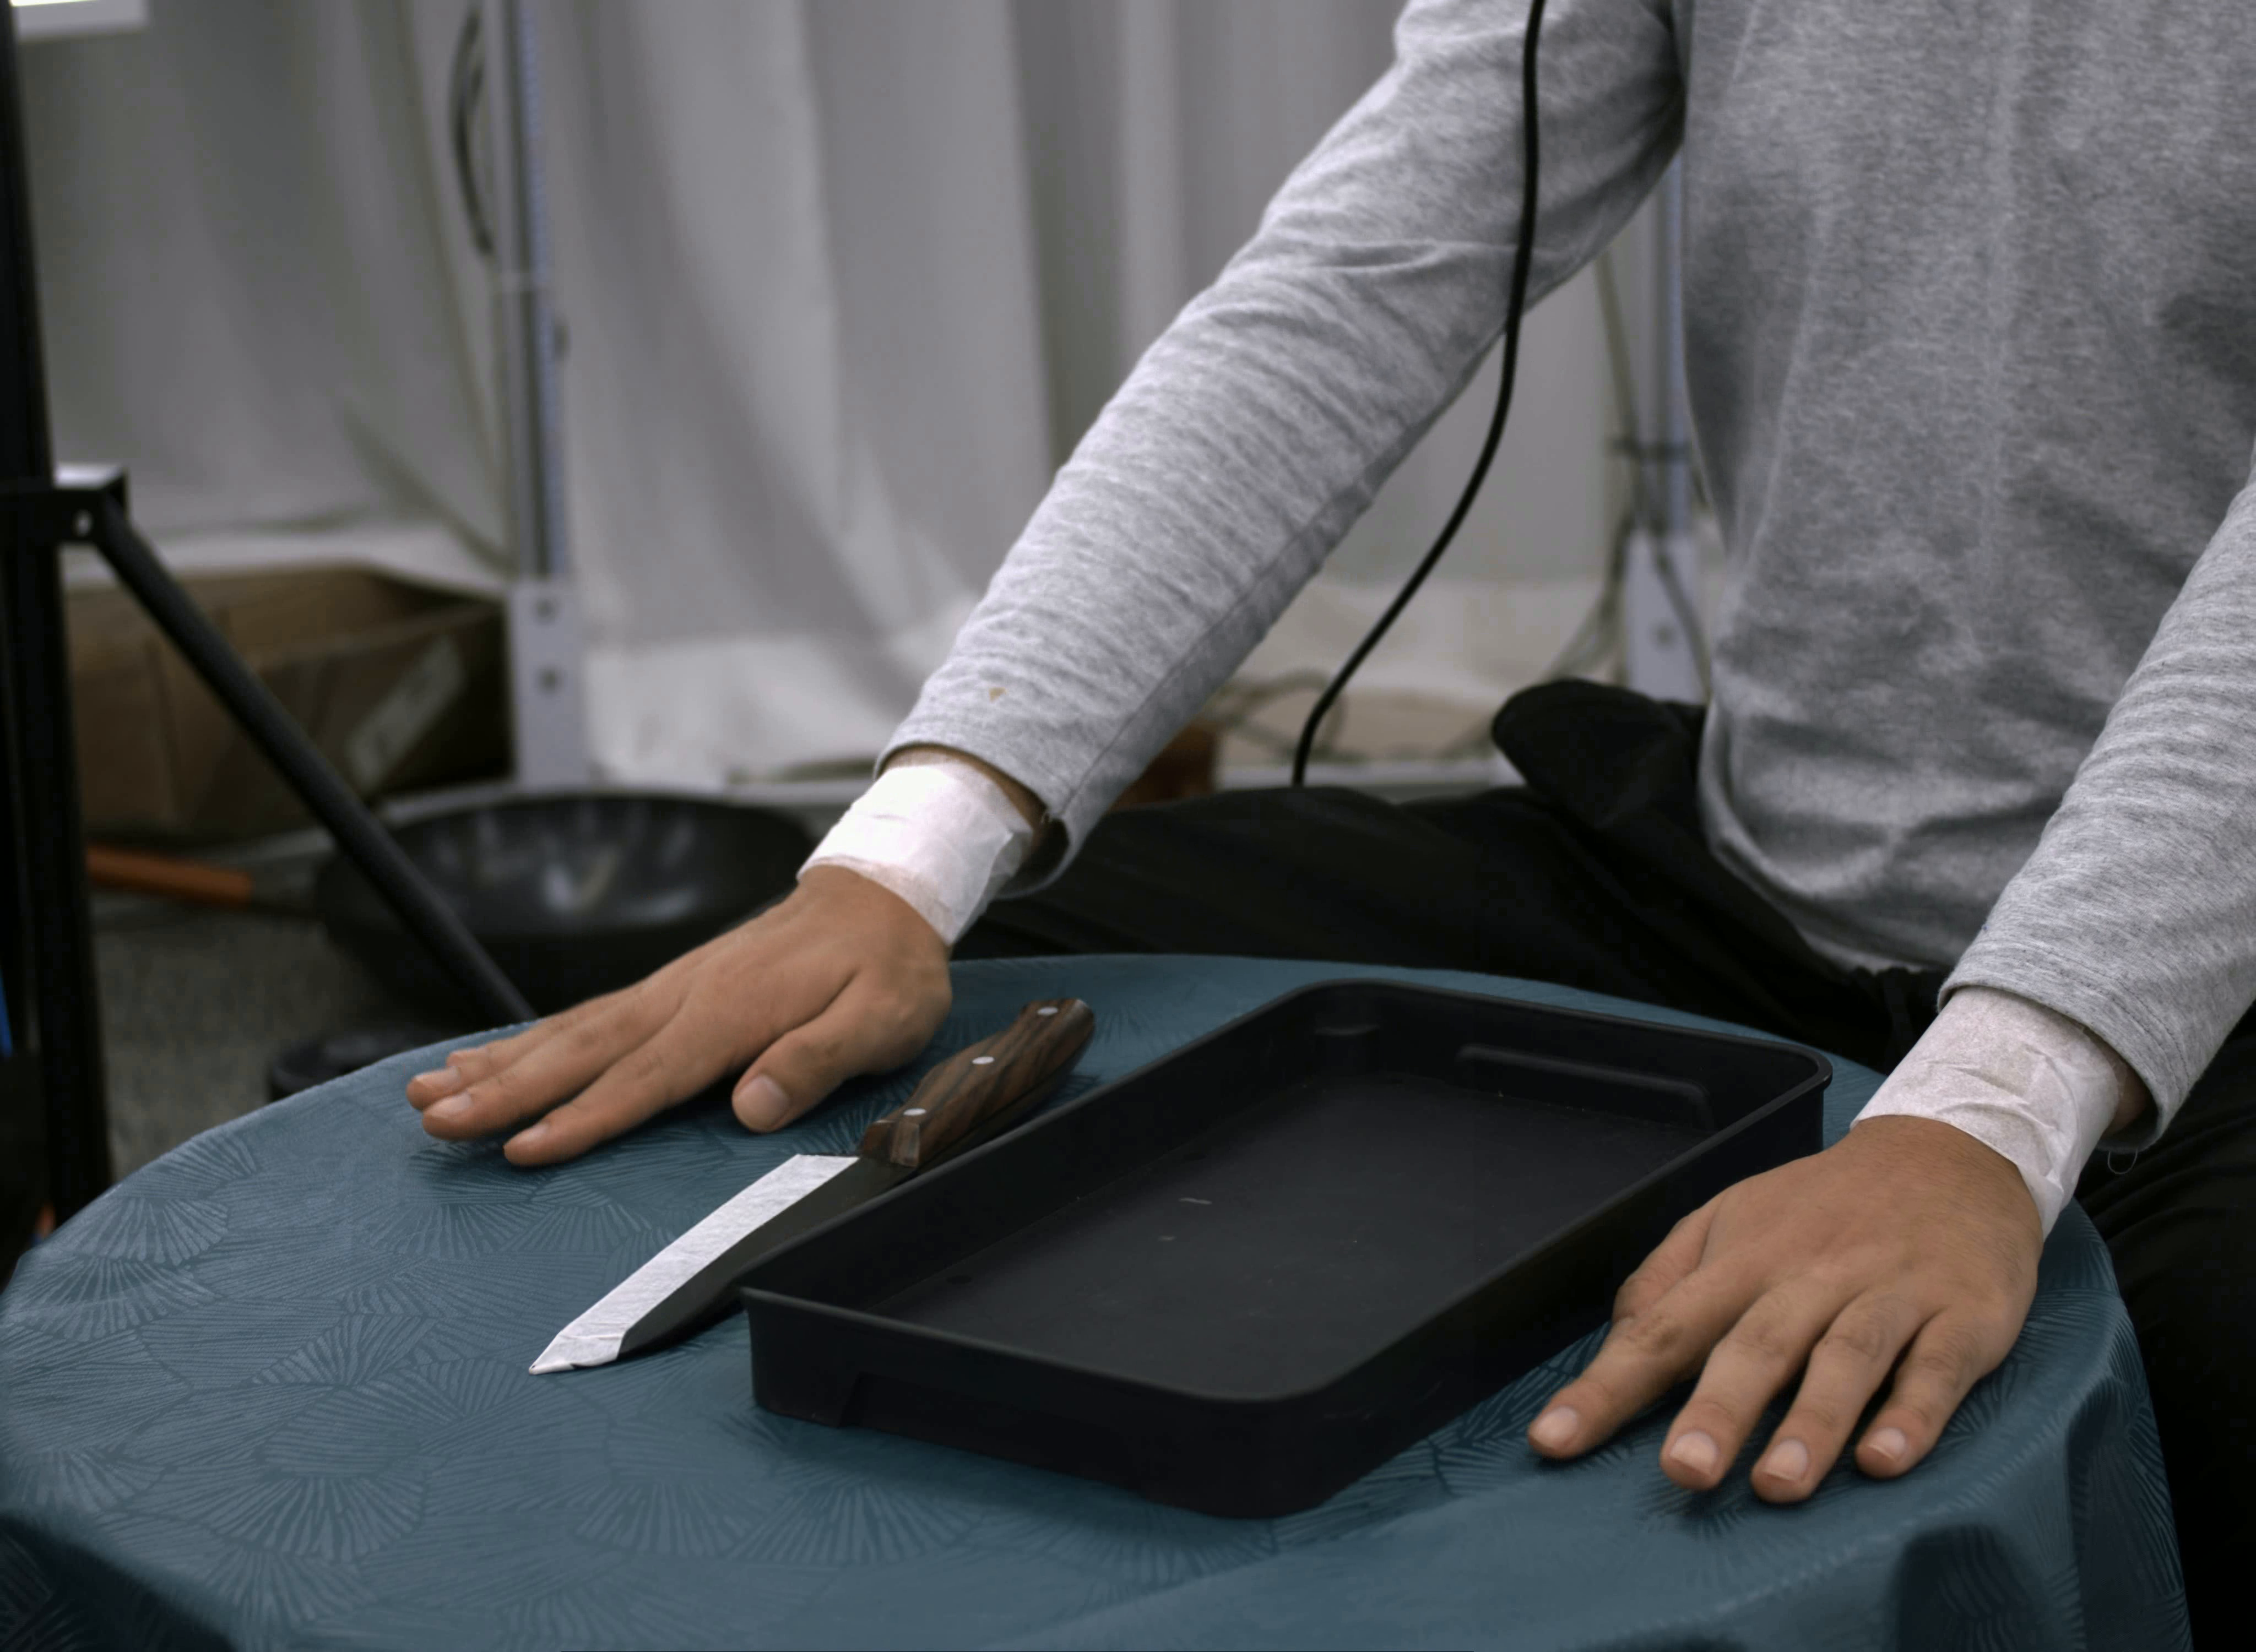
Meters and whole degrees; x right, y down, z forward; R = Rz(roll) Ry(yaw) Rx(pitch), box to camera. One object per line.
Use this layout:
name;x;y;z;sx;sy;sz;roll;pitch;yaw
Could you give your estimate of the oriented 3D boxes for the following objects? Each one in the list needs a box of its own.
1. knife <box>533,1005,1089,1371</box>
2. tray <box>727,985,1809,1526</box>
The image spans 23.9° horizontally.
knife;-0.087;0.106;1.556;0.051;0.020;0.284;1;18;31
tray;0.047;0.112;1.477;0.188;0.037;0.312;8;18;32
